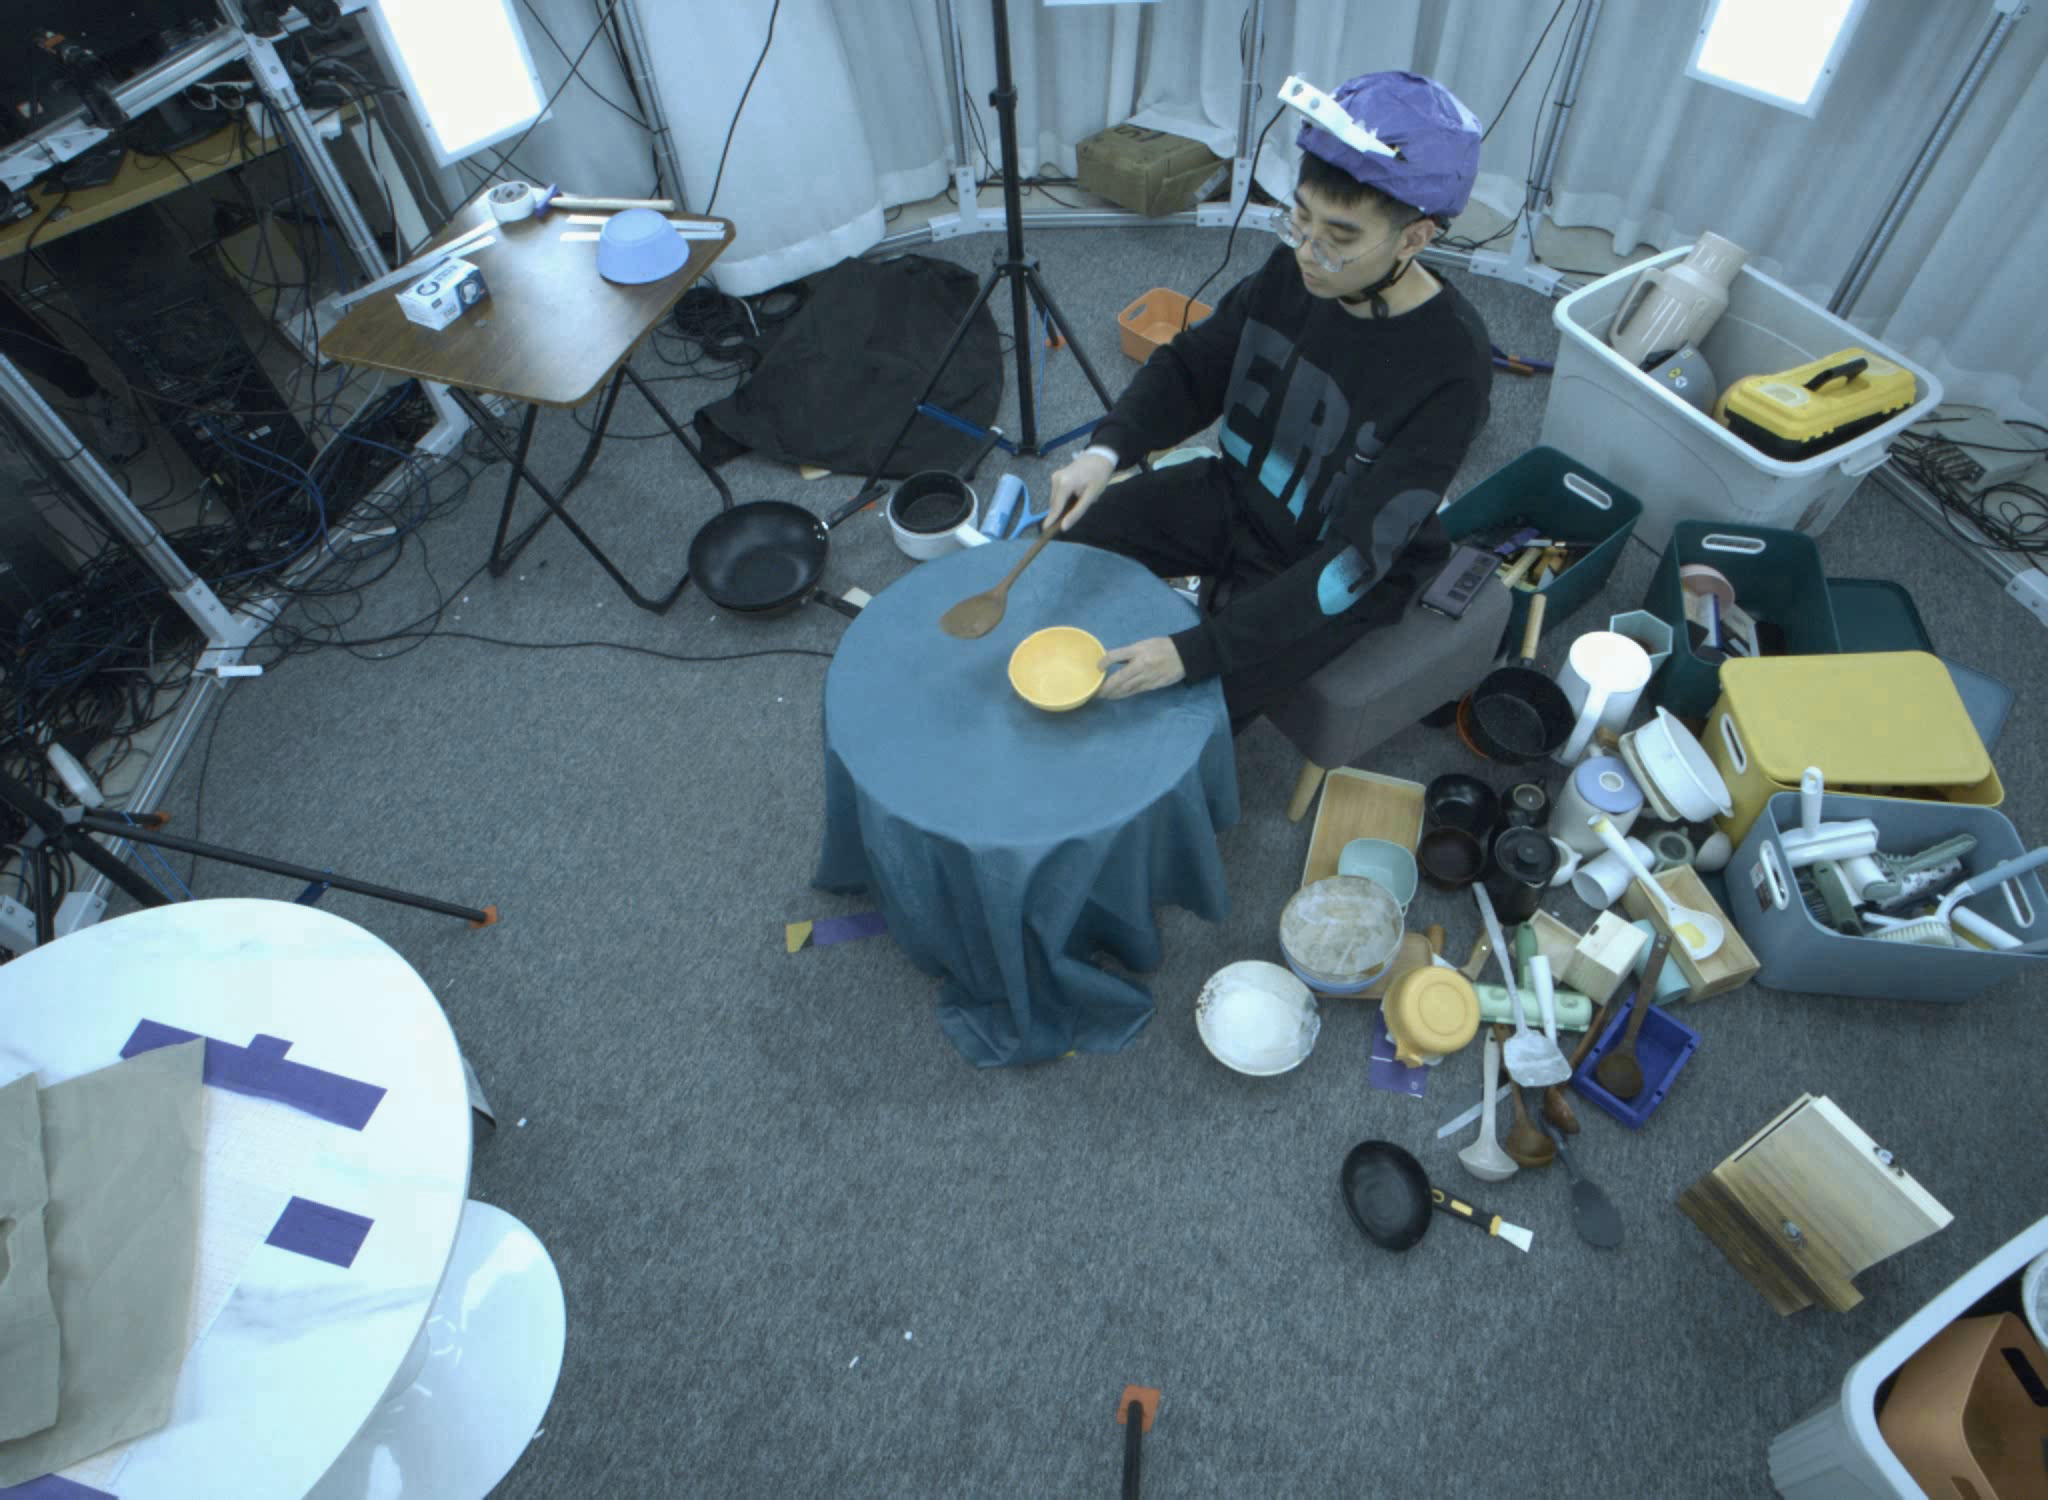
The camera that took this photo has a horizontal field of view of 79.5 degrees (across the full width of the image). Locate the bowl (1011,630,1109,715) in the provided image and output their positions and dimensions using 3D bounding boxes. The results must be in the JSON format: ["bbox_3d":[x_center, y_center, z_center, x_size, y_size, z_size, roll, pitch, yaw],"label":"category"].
[{"bbox_3d":[0.055,-0.105,1.833,0.145,0.061,0.144,-1,59,4],"label":"bowl"}]

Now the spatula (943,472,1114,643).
[{"bbox_3d":[0.020,-0.298,1.844,0.094,0.016,0.387,22,63,37],"label":"spatula"}]
